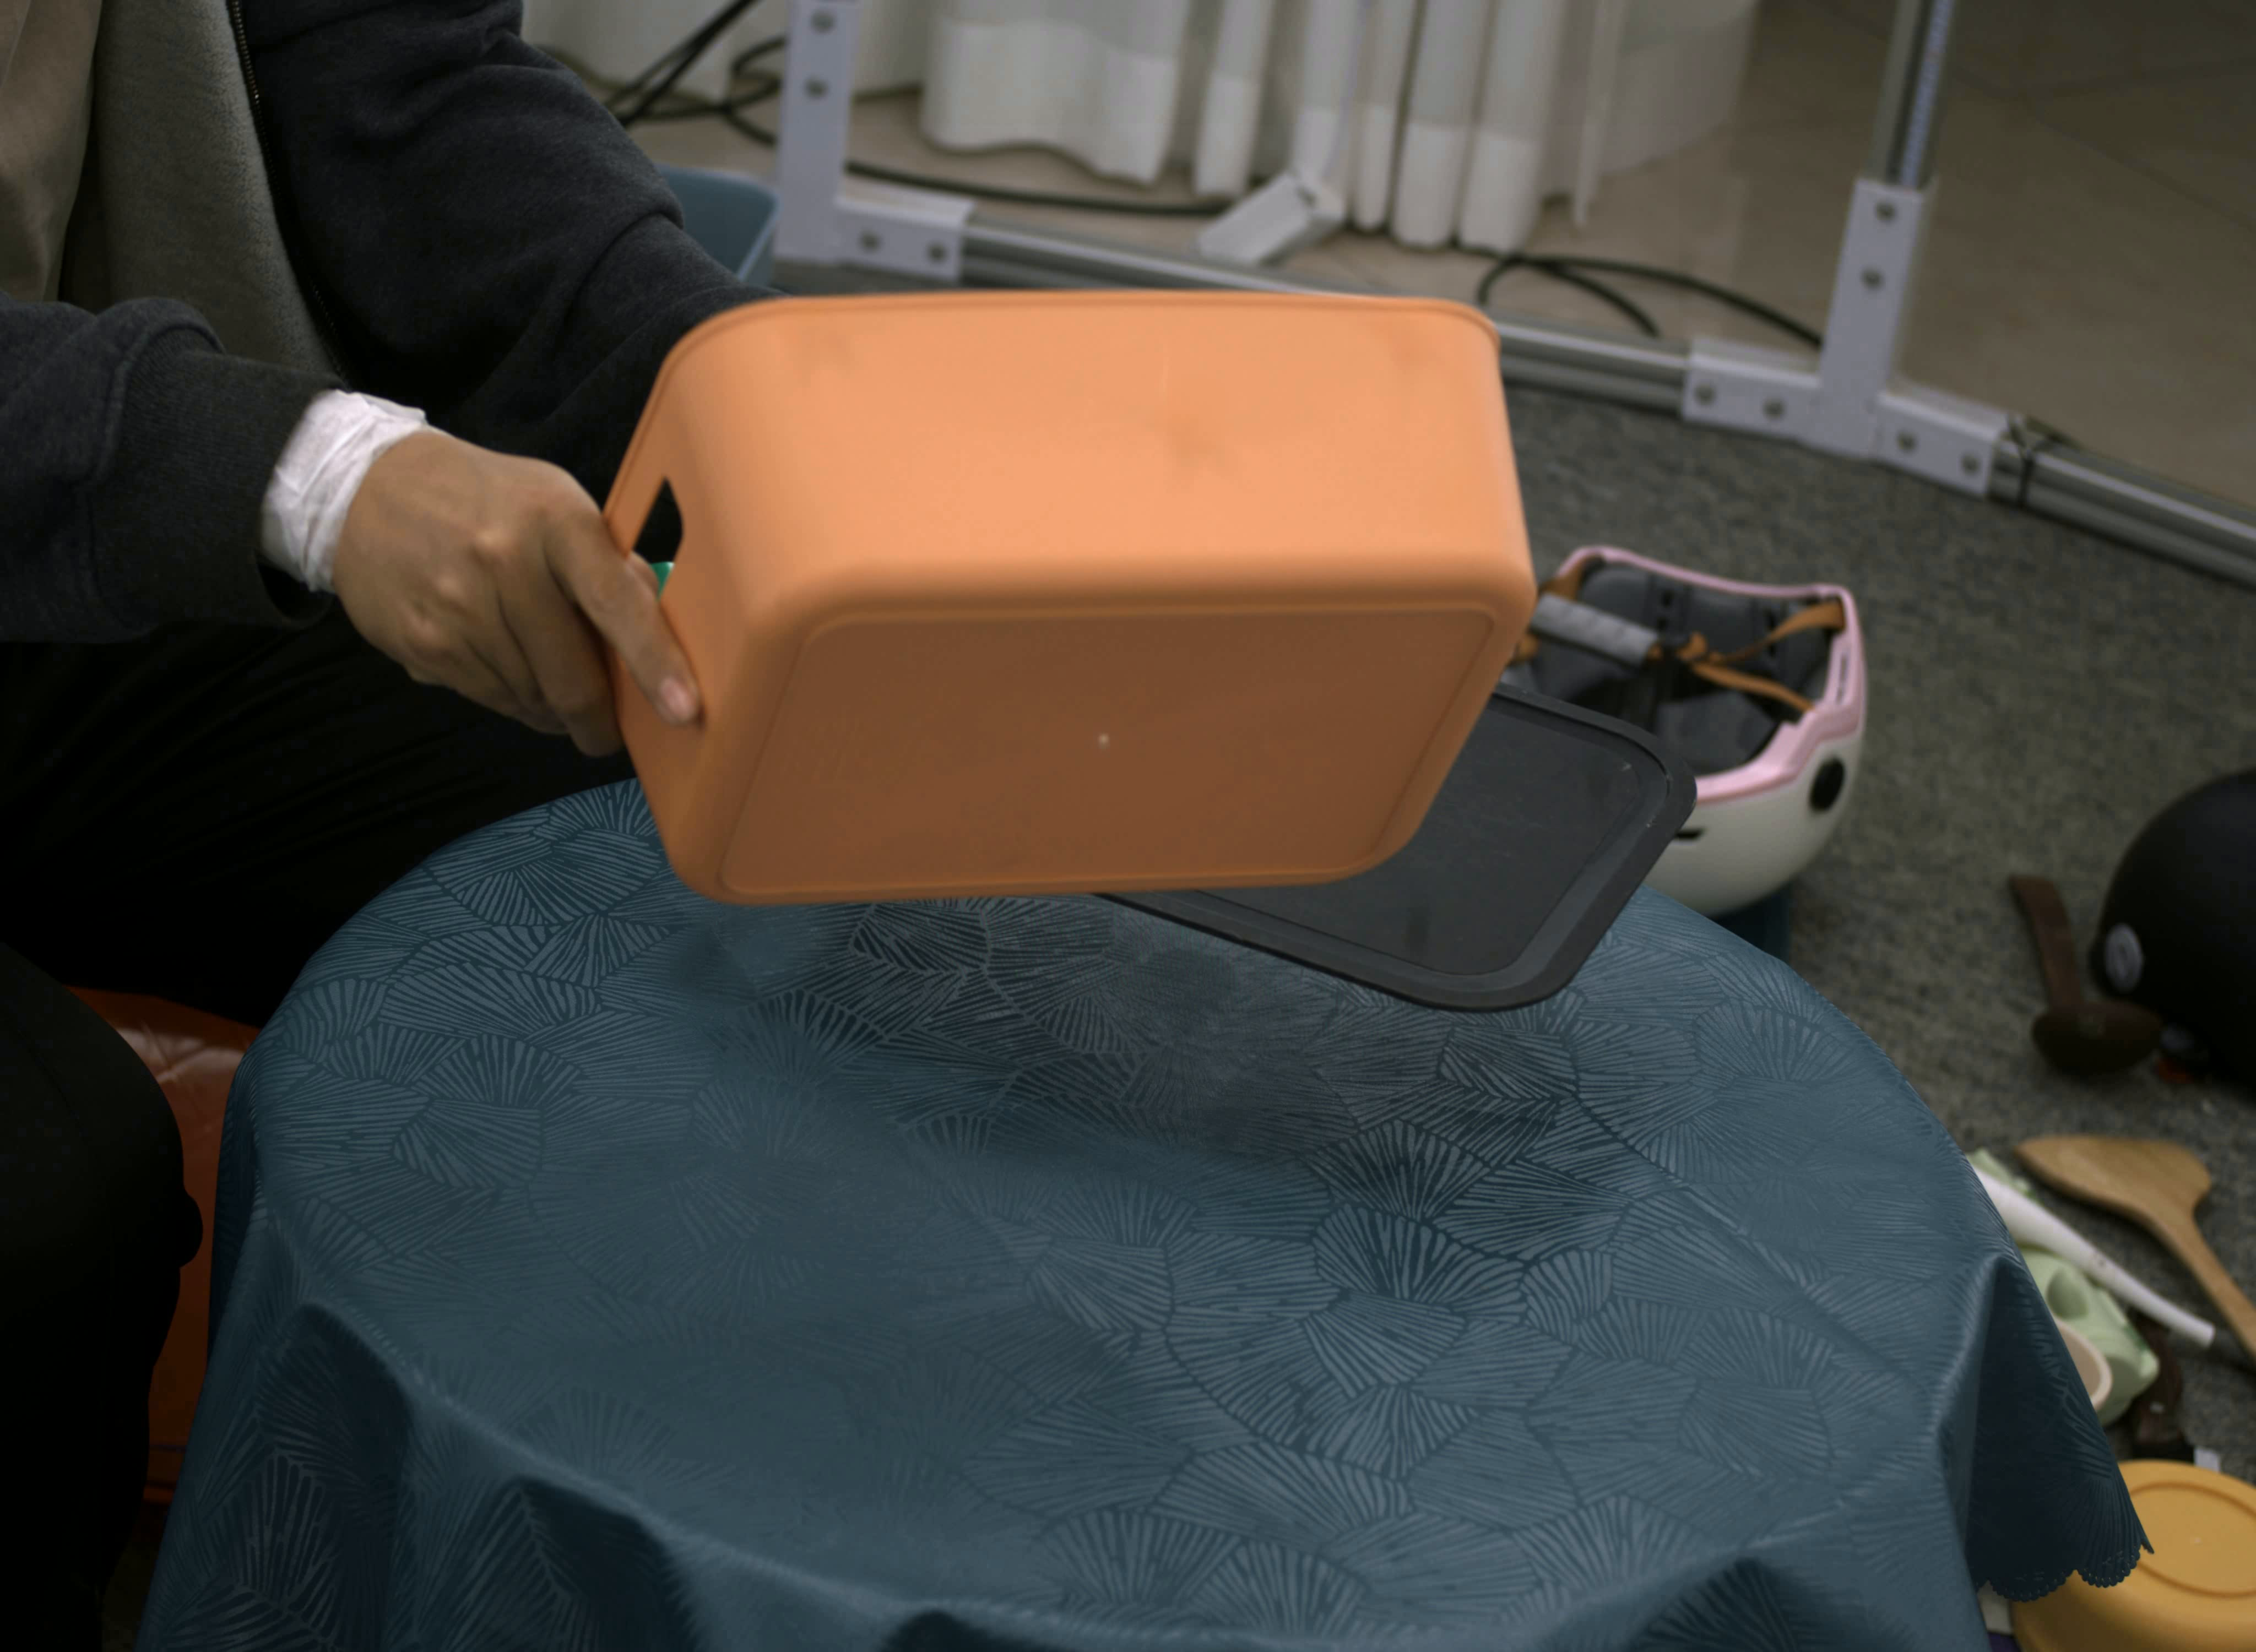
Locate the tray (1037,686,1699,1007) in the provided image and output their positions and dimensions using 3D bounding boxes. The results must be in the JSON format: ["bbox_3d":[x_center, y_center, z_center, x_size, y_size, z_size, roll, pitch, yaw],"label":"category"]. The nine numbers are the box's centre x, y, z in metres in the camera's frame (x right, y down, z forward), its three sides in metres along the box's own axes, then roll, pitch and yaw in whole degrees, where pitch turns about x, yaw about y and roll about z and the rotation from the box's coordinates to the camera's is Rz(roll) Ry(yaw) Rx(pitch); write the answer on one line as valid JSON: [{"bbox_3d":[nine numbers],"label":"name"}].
[{"bbox_3d":[0.030,-0.025,1.896,0.326,0.010,0.211,18,34,18],"label":"tray"}]

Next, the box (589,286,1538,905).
[{"bbox_3d":[-0.018,-0.063,1.622,0.271,0.199,0.103,-2,57,-19],"label":"box"}]
